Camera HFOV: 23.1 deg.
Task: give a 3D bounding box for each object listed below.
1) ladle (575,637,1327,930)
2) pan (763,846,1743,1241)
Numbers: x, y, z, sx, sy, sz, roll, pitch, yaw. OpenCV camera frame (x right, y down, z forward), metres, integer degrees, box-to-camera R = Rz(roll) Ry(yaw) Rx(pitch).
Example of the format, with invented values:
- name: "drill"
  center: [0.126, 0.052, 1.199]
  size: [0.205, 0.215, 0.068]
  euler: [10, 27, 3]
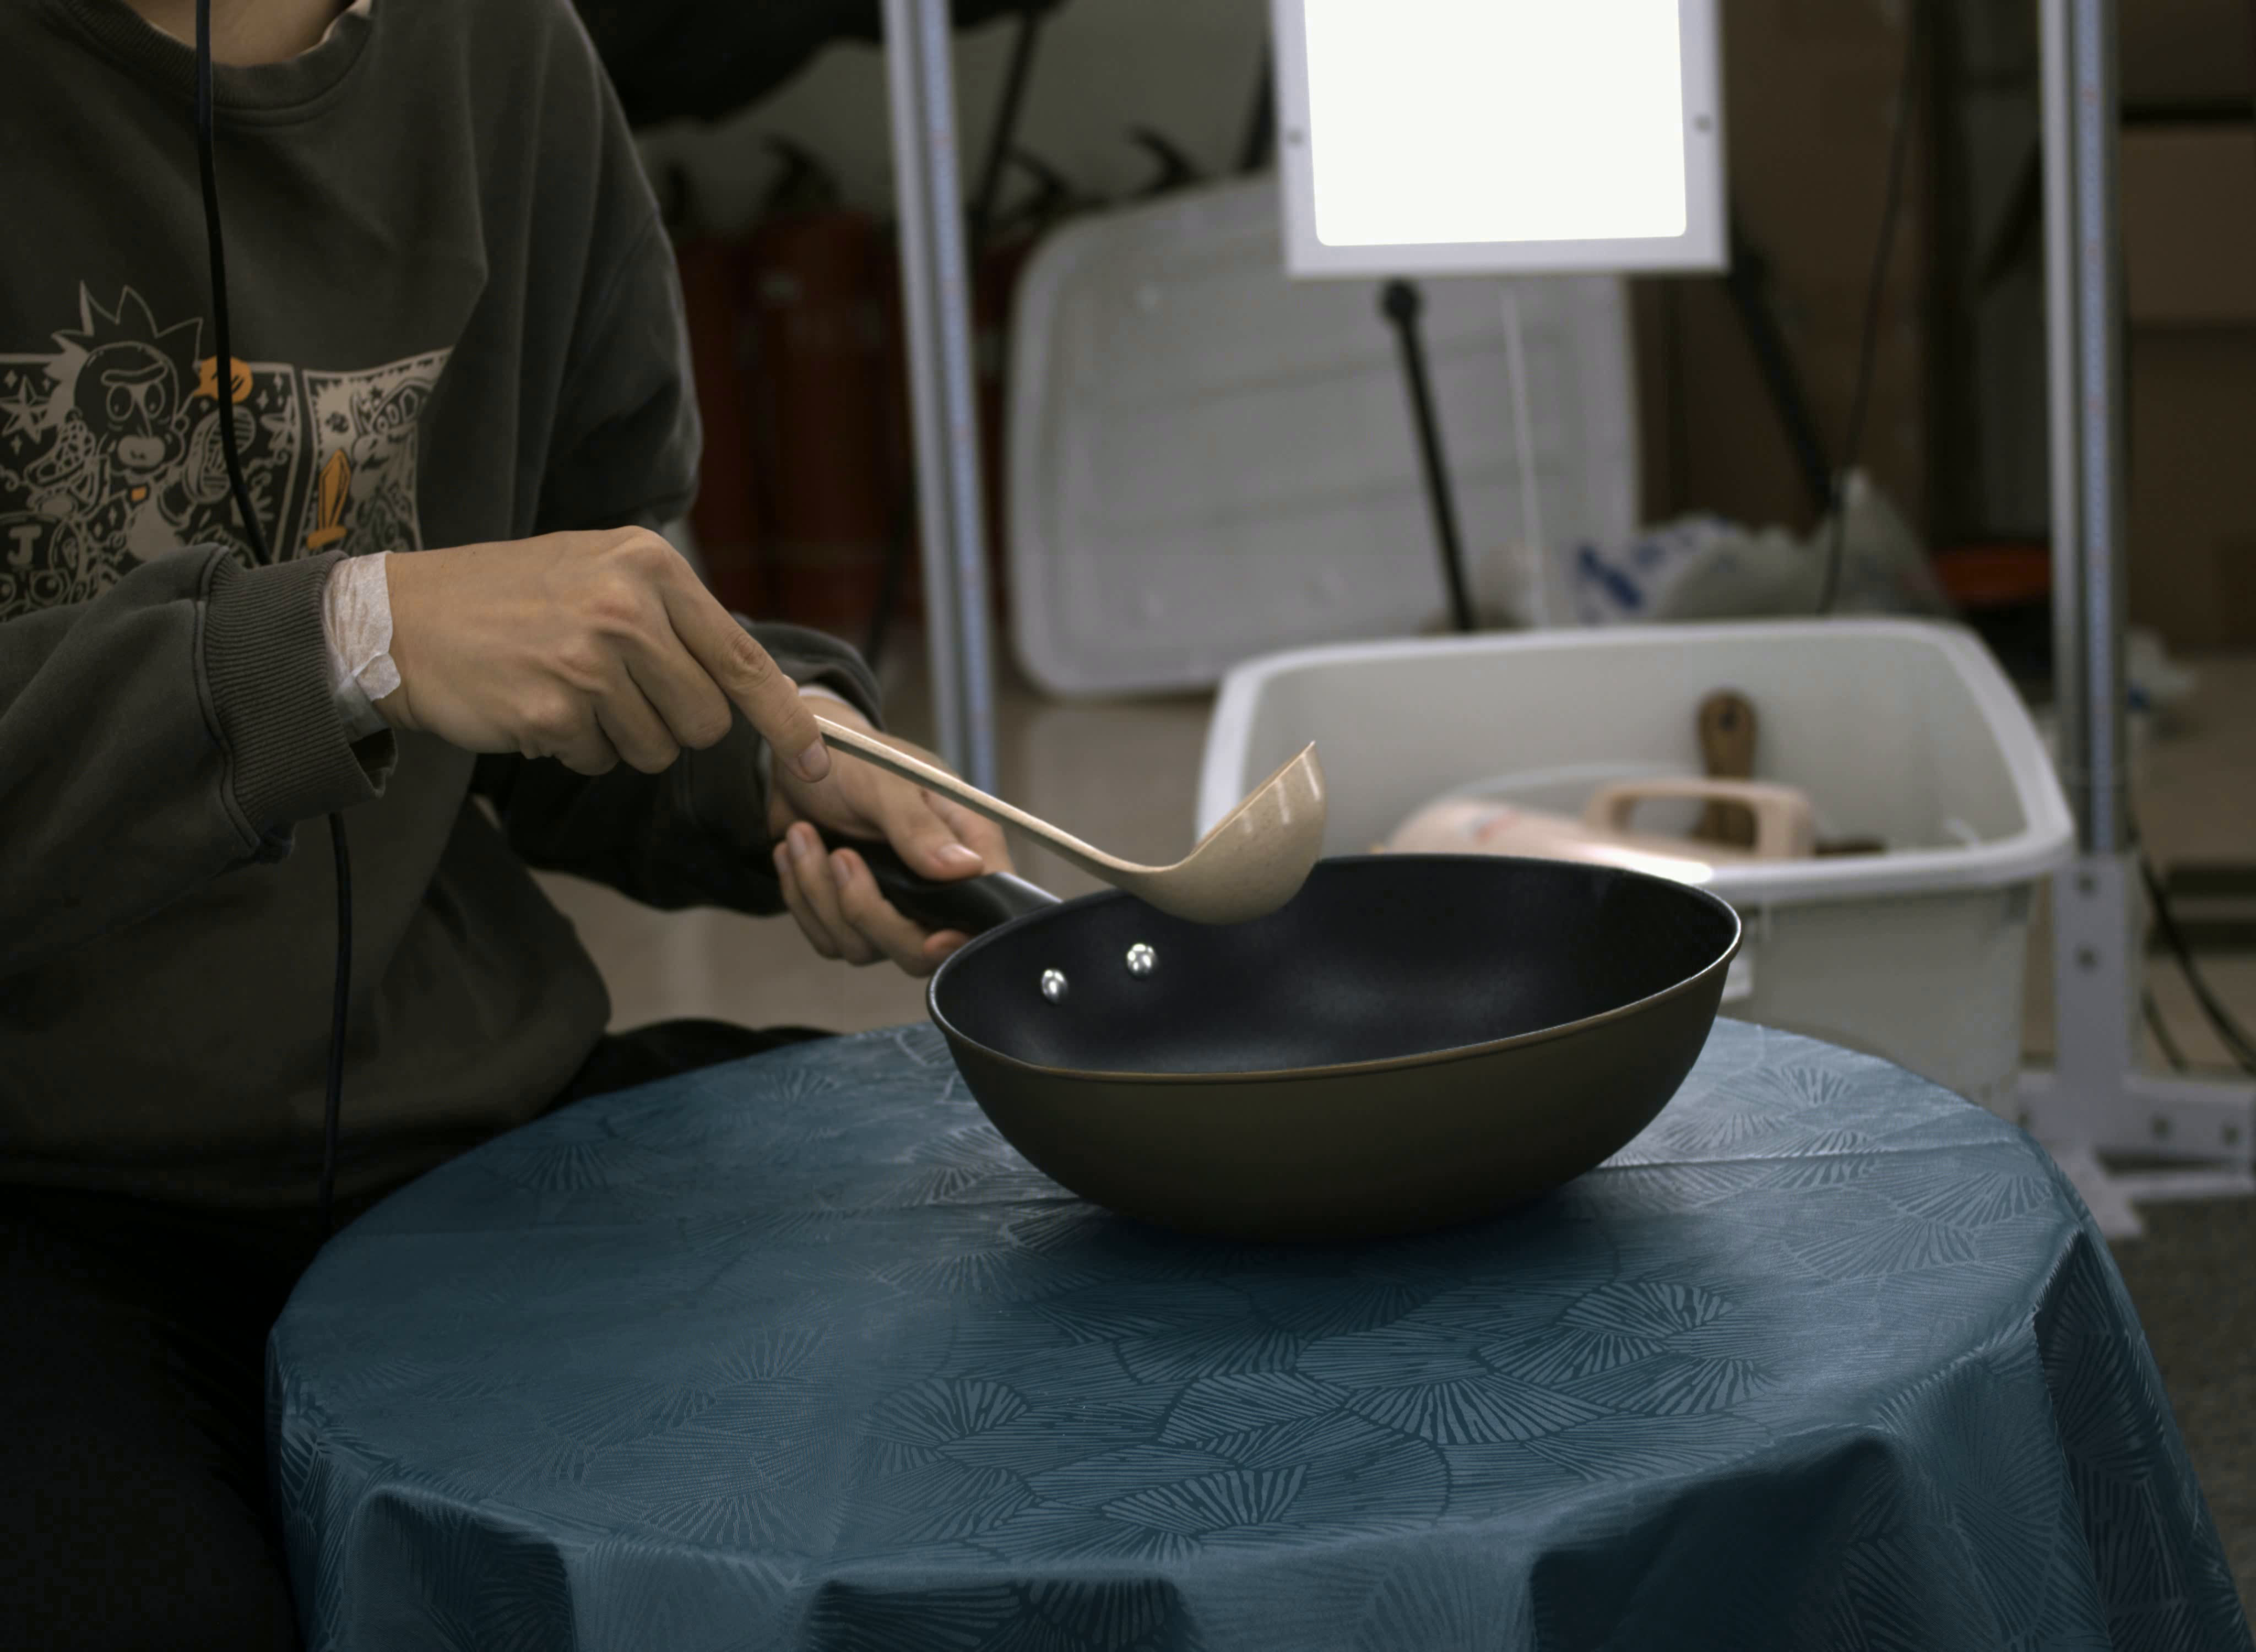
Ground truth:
- name: "ladle"
  center: [-0.054, -0.040, 1.820]
  size: [0.252, 0.072, 0.073]
  euler: [25, -12, -10]
- name: "pan"
  center: [0.013, 0.071, 1.948]
  size: [0.281, 0.087, 0.473]
  euler: [-16, 16, -37]
